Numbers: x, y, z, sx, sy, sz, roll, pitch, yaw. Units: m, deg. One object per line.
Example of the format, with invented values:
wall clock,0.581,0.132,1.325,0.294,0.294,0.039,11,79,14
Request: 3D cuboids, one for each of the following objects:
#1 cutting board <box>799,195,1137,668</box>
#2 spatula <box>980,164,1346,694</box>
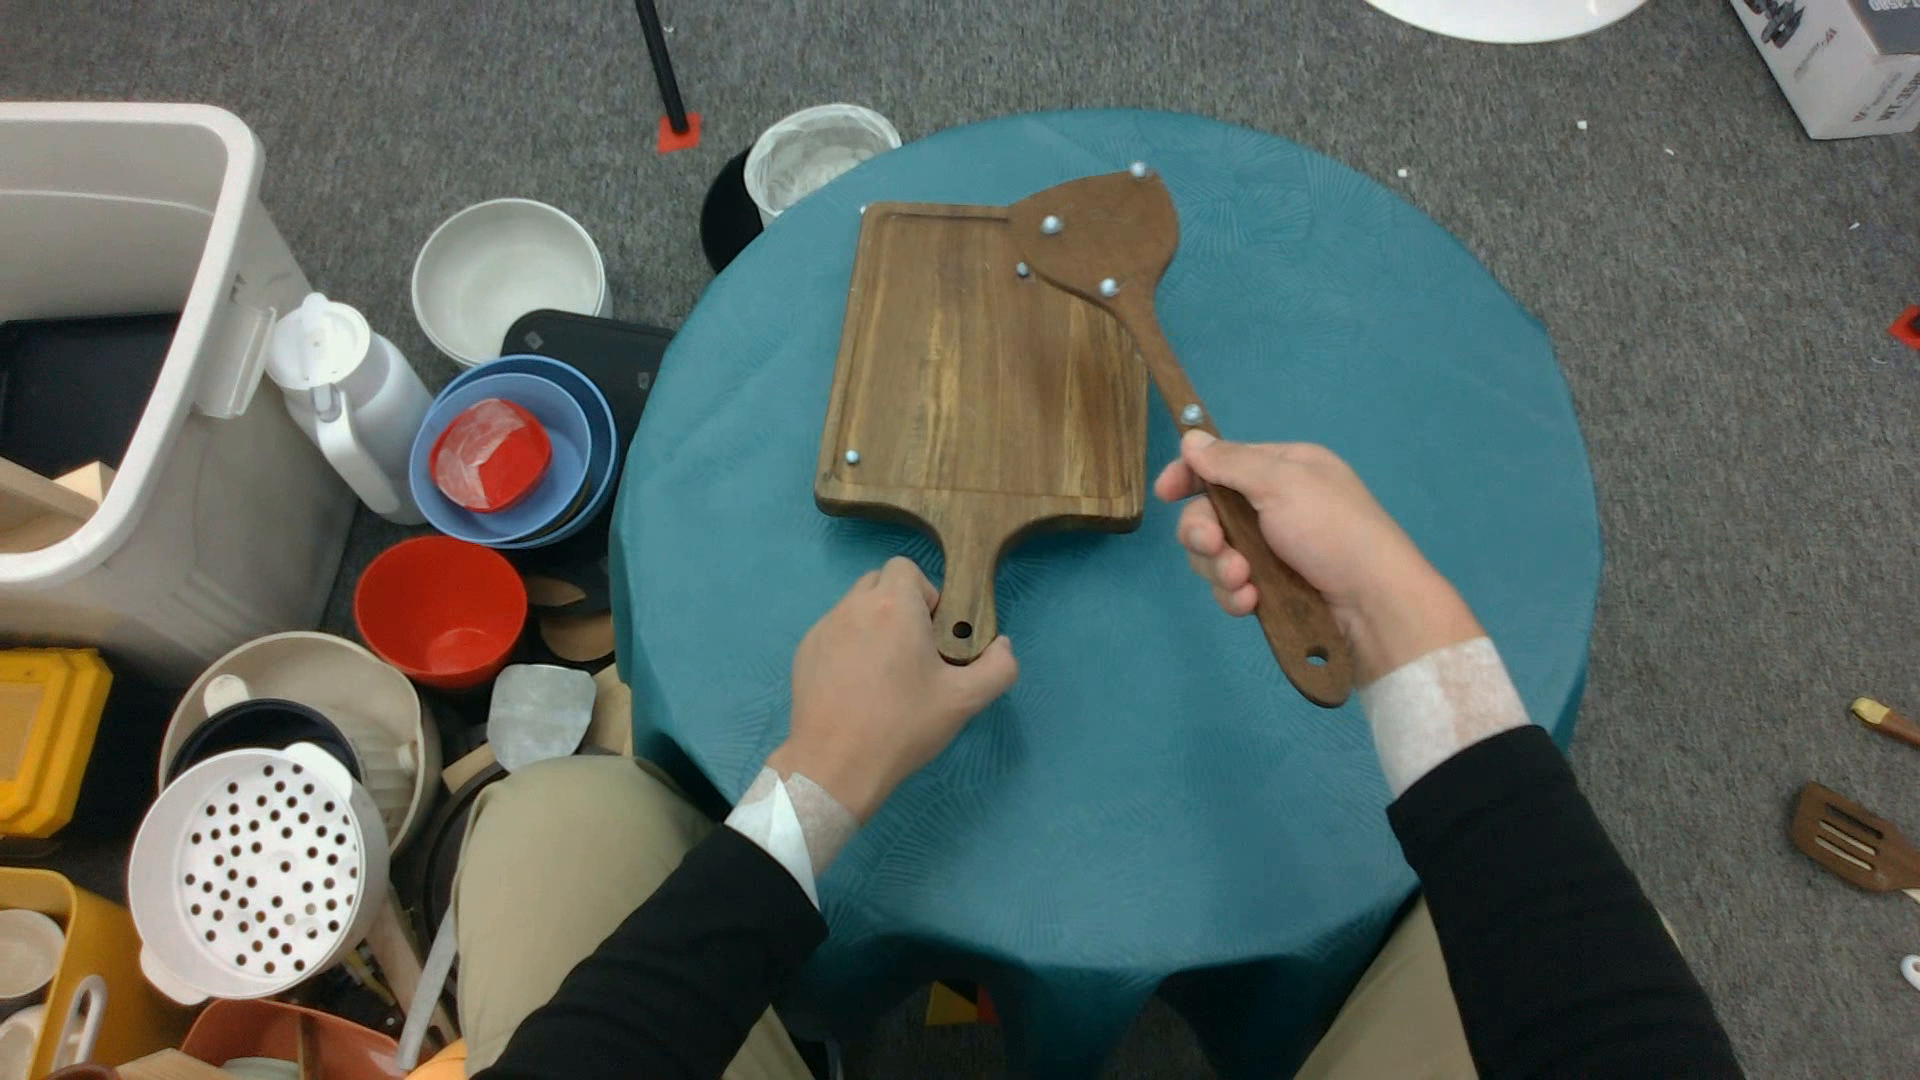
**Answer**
cutting board,0.007,-0.082,0.842,0.201,0.023,0.354,3,57,3
spatula,0.102,-0.077,0.692,0.096,0.016,0.387,-16,48,-5
